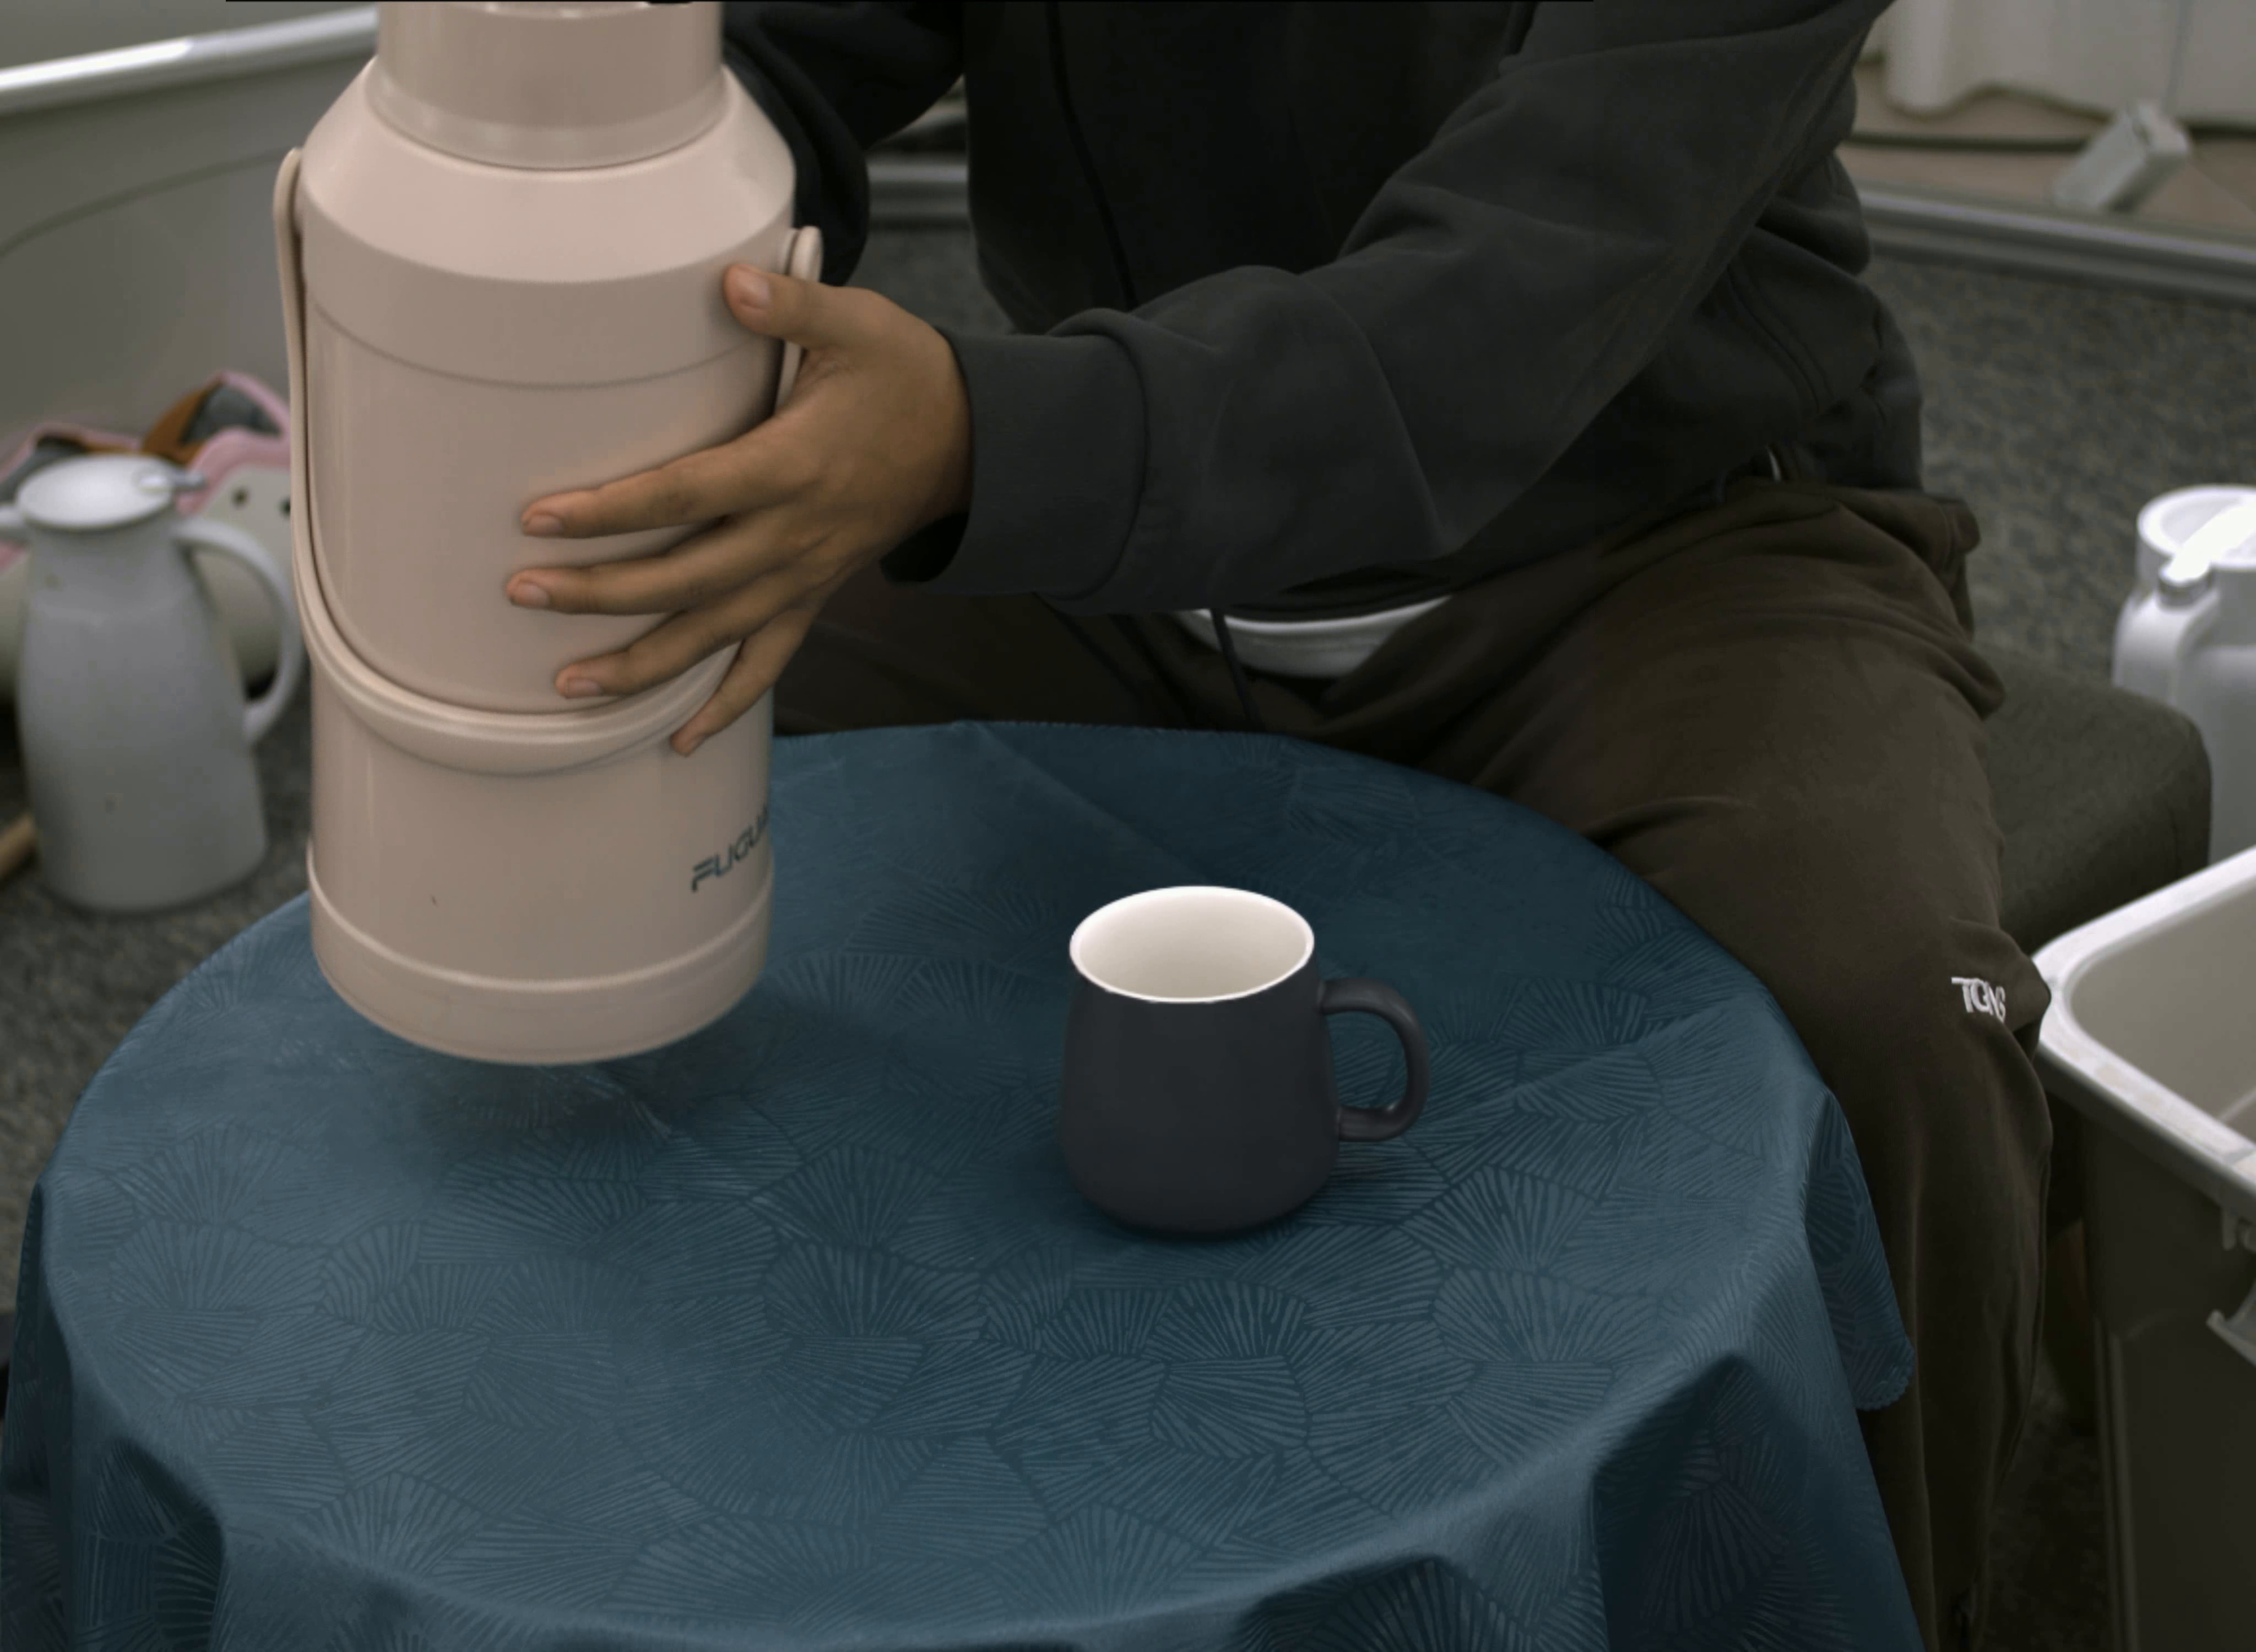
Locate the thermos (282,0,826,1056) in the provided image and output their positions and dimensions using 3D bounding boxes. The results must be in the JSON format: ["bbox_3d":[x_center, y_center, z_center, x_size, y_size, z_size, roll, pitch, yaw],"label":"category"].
[{"bbox_3d":[-0.185,-0.138,1.850,0.174,0.401,0.211,9,33,7],"label":"thermos"}]

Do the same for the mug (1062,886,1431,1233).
[{"bbox_3d":[0.038,0.078,1.848,0.122,0.089,0.095,1,27,8],"label":"mug"}]
